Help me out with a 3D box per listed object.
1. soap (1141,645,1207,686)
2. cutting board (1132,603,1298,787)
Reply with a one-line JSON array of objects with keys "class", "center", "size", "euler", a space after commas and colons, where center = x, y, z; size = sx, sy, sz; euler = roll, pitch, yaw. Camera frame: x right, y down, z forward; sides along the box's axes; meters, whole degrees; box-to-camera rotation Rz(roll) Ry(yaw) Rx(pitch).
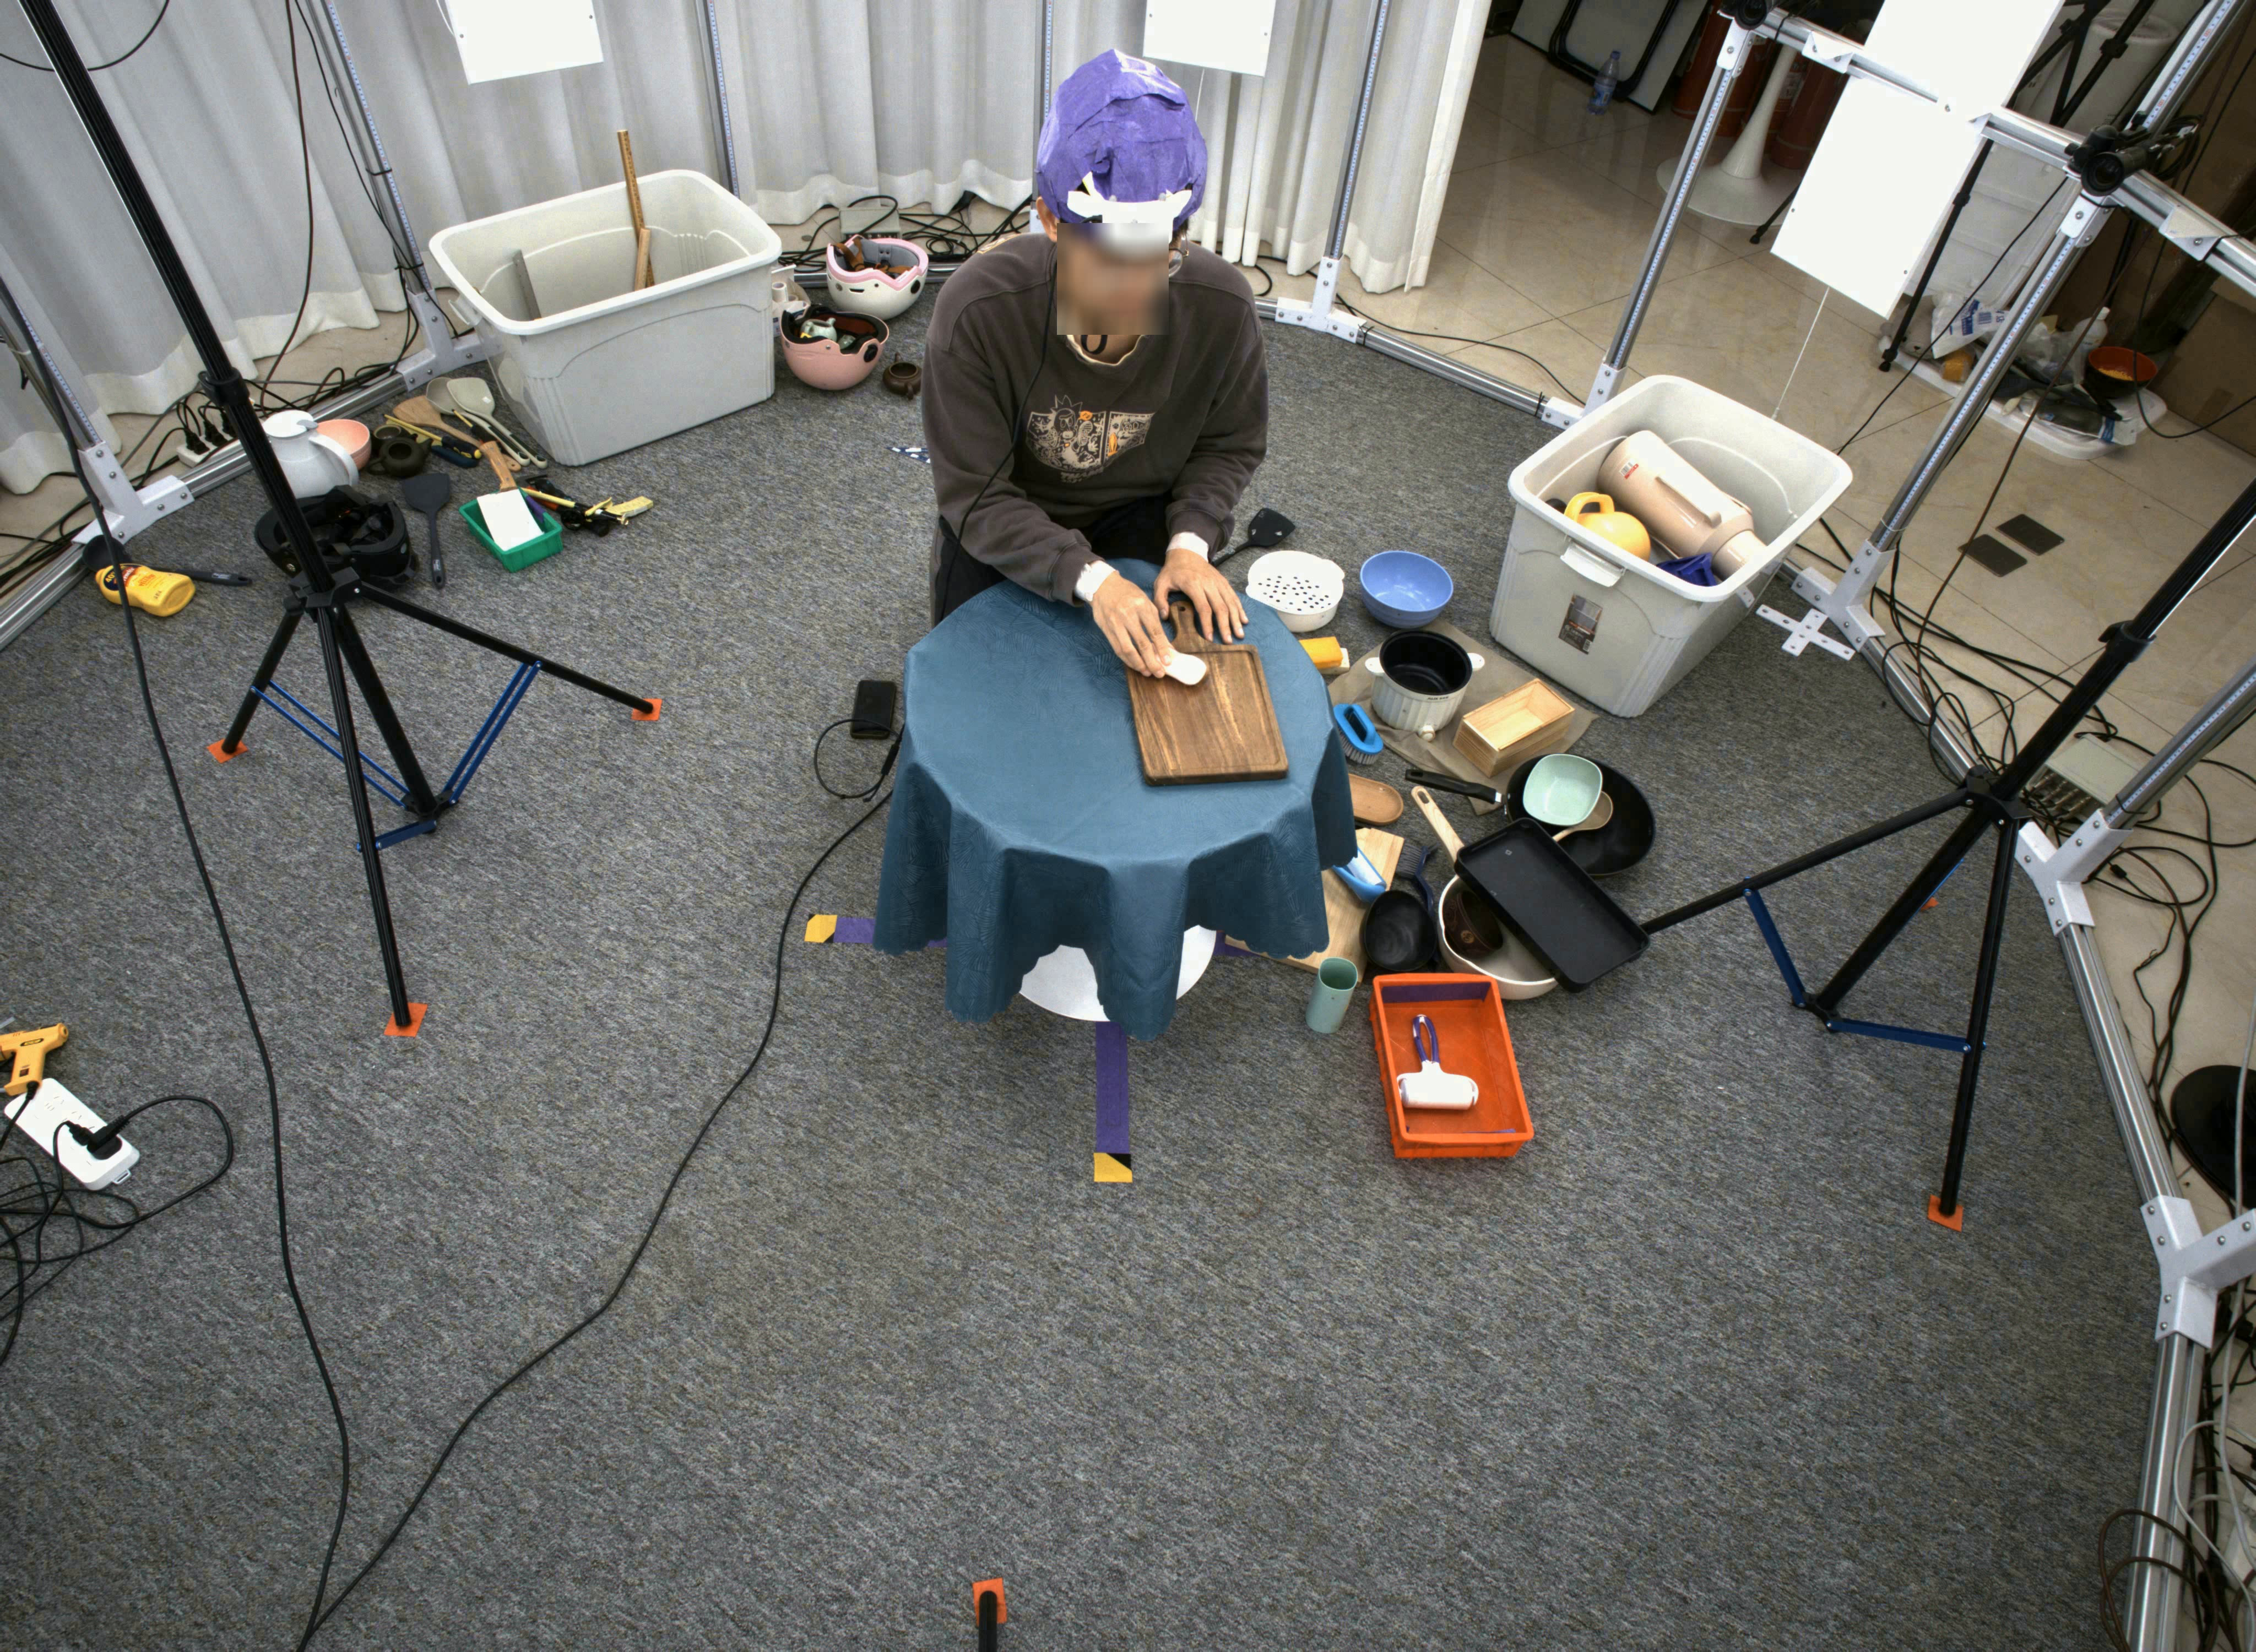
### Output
[{"class": "soap", "center": [0.066, -0.230, 1.831], "size": [0.095, 0.029, 0.051], "euler": [22, 52, 15]}, {"class": "cutting board", "center": [0.113, -0.196, 1.830], "size": [0.201, 0.022, 0.361], "euler": [-3, 49, -6]}]
